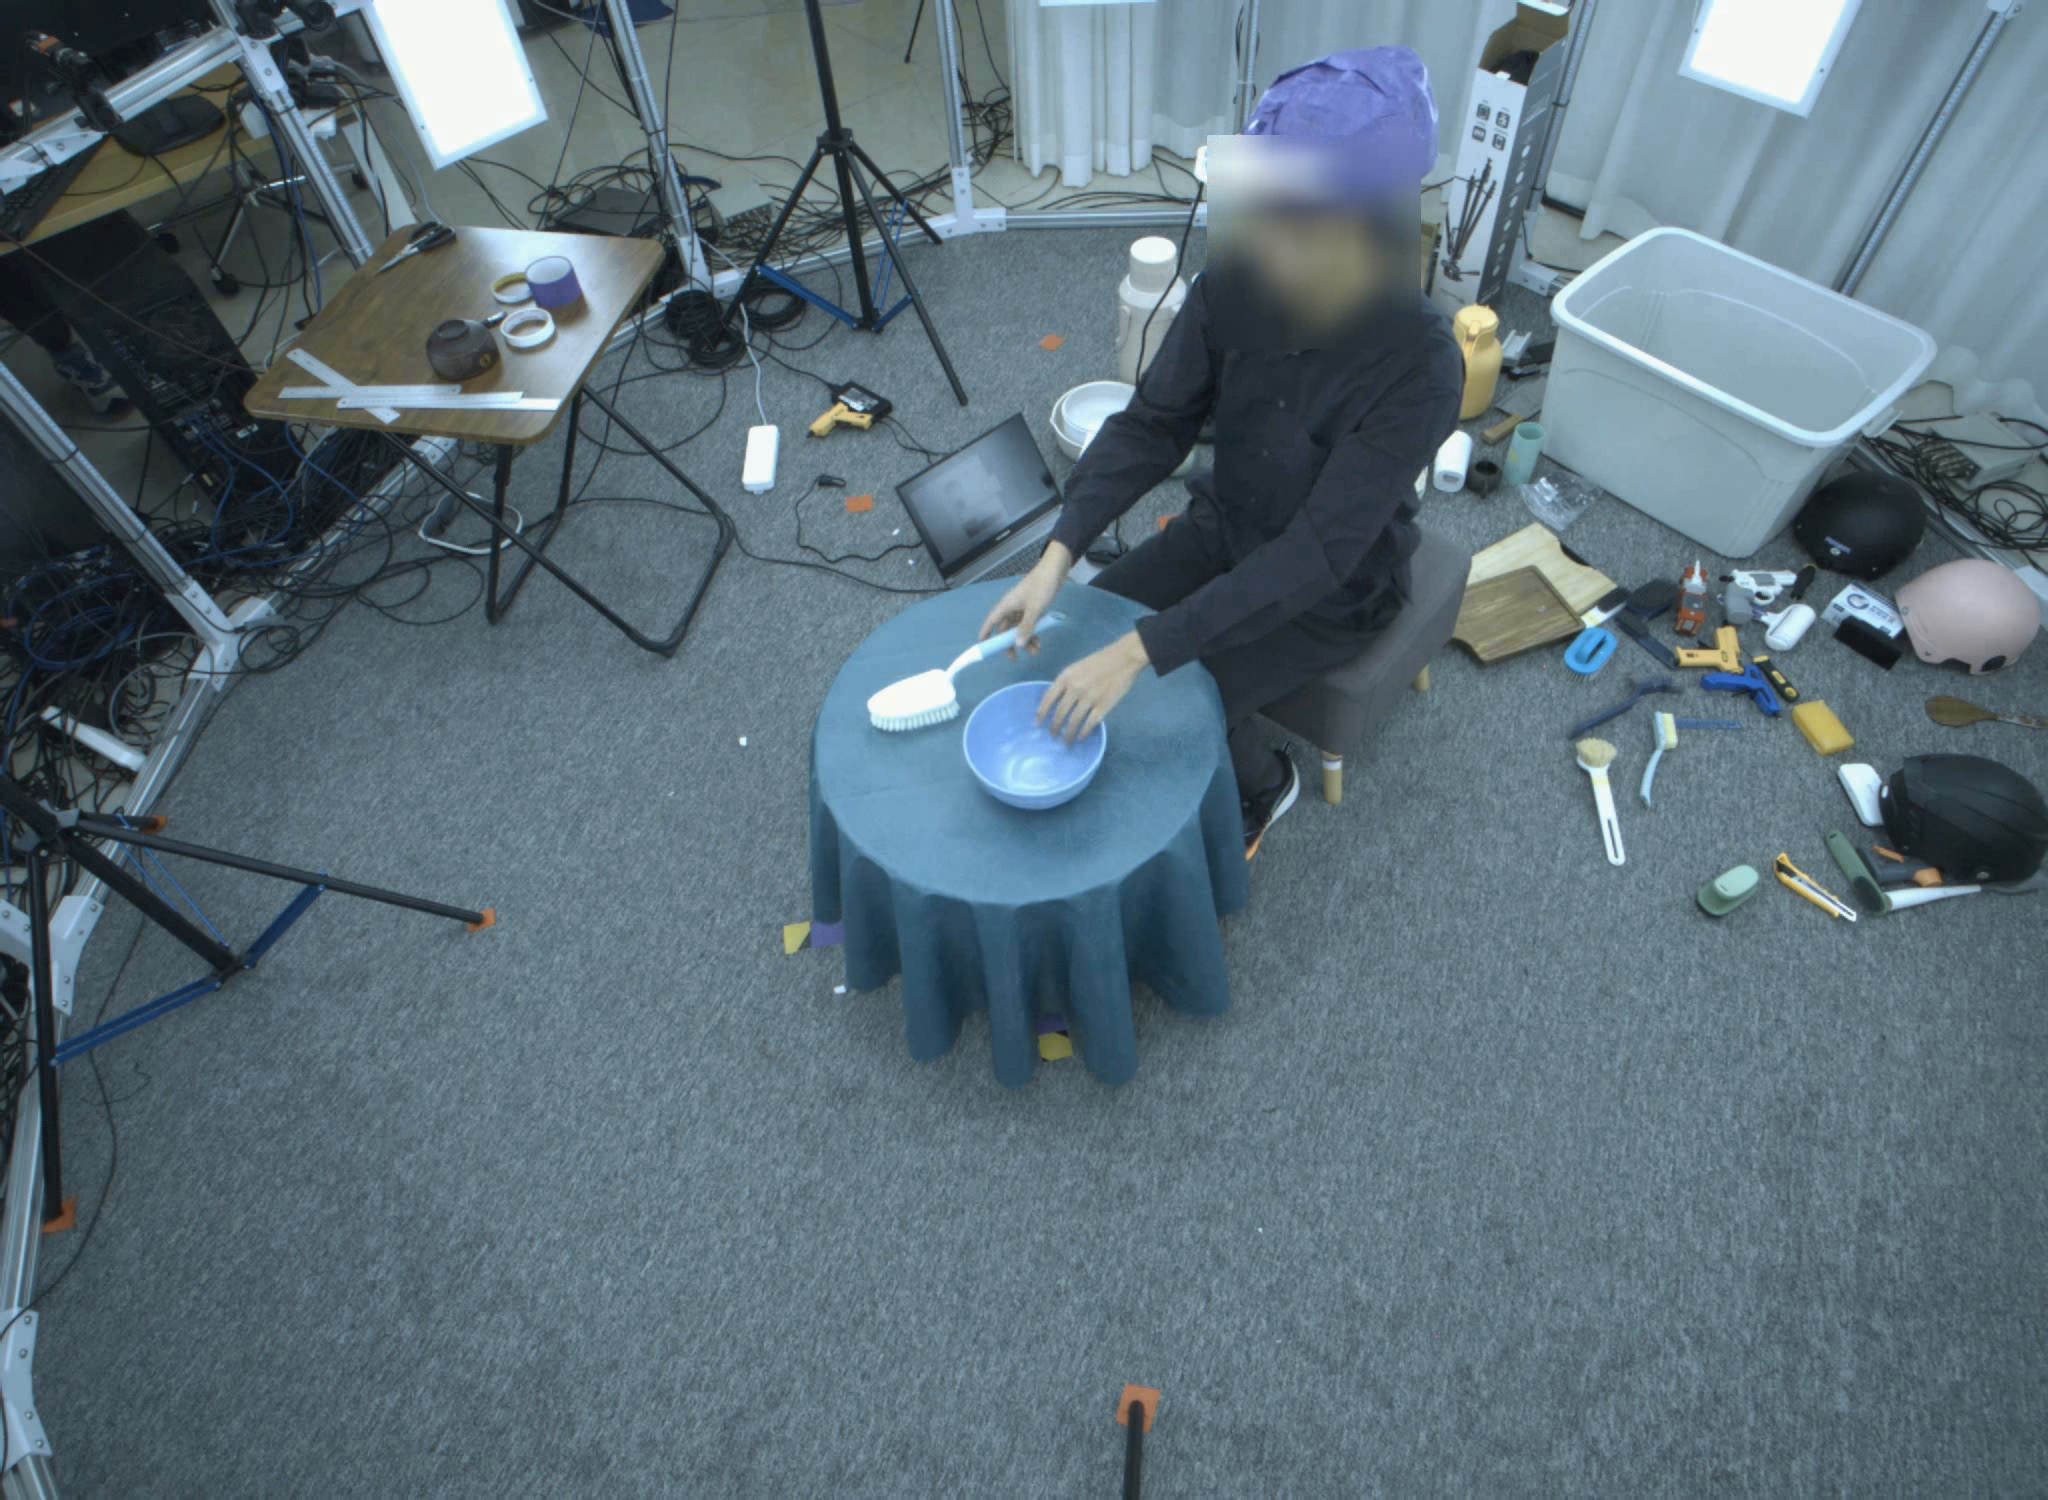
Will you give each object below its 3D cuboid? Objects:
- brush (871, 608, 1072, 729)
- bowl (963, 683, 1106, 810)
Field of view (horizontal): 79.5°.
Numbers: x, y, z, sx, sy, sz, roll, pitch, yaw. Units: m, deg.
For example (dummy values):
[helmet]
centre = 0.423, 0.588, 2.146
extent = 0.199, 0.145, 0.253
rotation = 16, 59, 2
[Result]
[brush]
centre = -0.071, -0.111, 1.818
extent = 0.326, 0.084, 0.083
rotation = -25, 93, -1
[bowl]
centre = 0.016, 0.010, 1.726
extent = 0.196, 0.096, 0.194
rotation = 0, 53, 2
